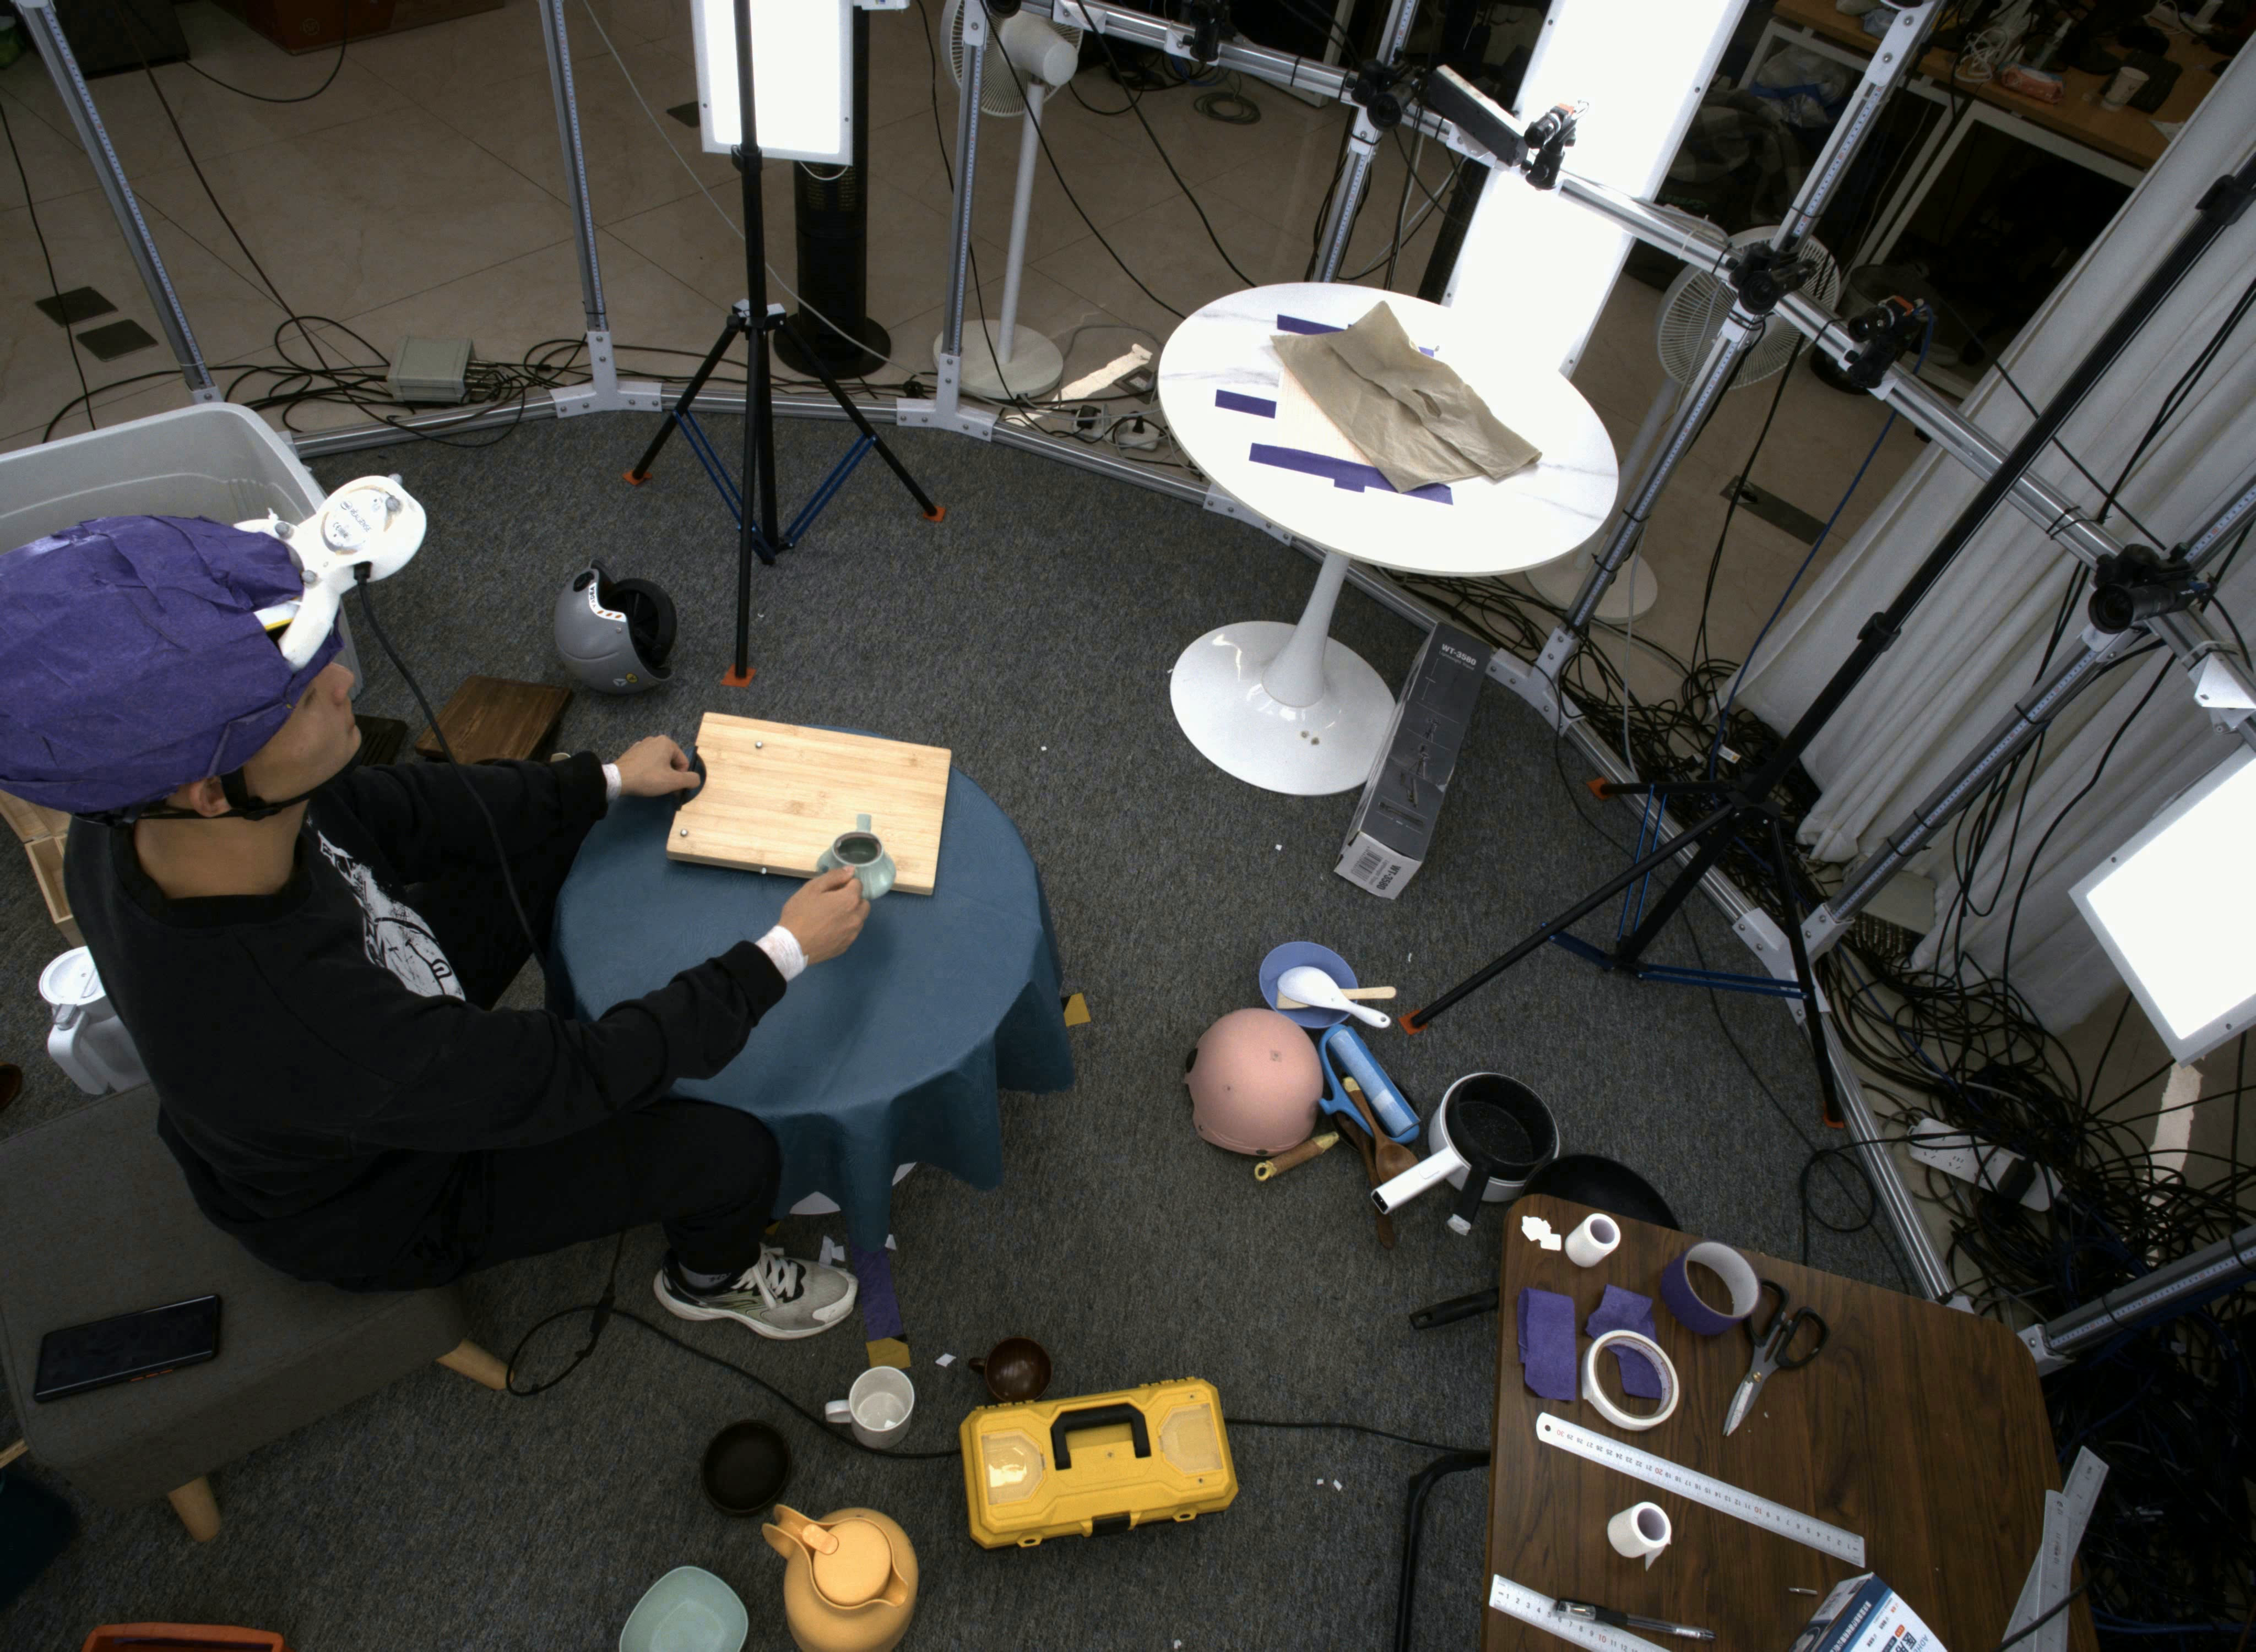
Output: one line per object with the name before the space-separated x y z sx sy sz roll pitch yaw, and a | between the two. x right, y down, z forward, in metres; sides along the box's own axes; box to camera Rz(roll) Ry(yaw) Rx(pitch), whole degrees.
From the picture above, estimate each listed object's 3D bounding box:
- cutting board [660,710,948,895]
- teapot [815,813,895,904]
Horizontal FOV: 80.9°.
cutting board | -0.422 -0.035 1.727 0.349 0.024 0.246 8 52 -12
teapot | -0.330 0.047 1.569 0.096 0.063 0.134 10 40 -9
